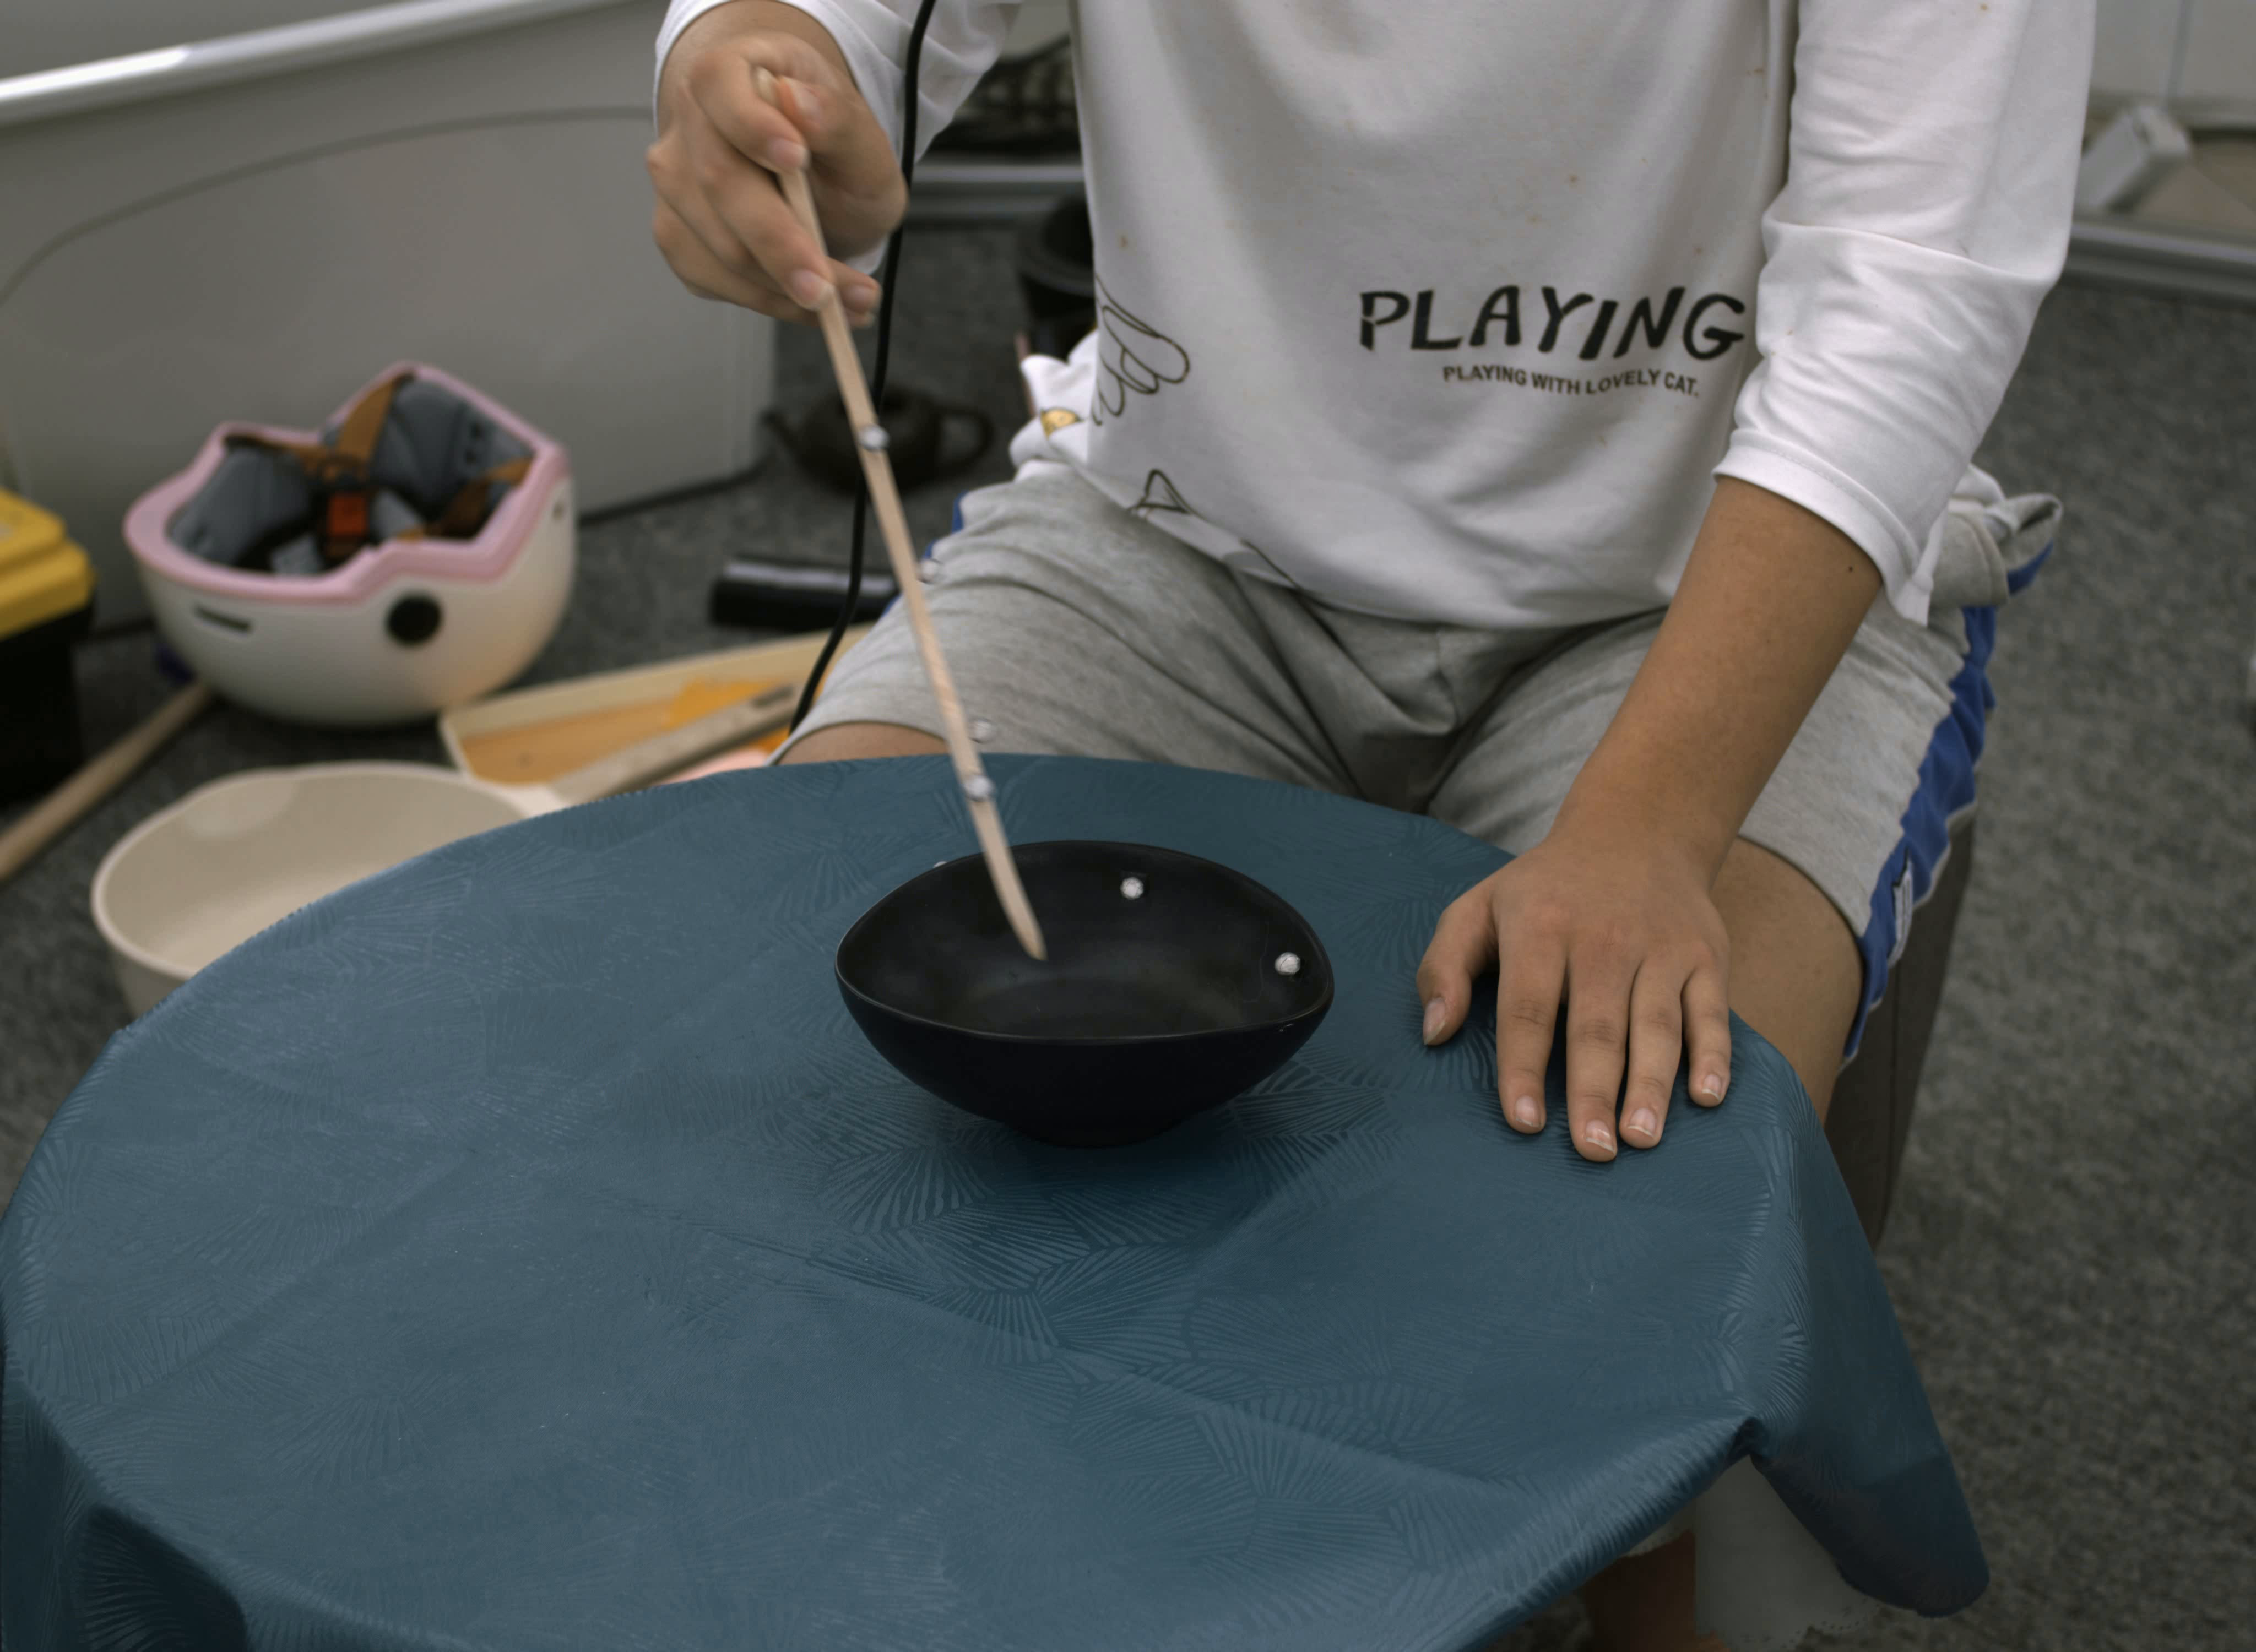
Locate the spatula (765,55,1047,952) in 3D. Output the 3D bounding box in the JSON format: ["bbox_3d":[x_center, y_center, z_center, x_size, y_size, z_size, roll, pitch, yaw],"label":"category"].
[{"bbox_3d":[-0.071,-0.101,1.784,0.010,0.293,0.072,-16,6,-2],"label":"spatula"}]

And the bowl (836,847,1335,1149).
[{"bbox_3d":[-0.014,0.065,1.906,0.169,0.066,0.139,3,27,6],"label":"bowl"}]
